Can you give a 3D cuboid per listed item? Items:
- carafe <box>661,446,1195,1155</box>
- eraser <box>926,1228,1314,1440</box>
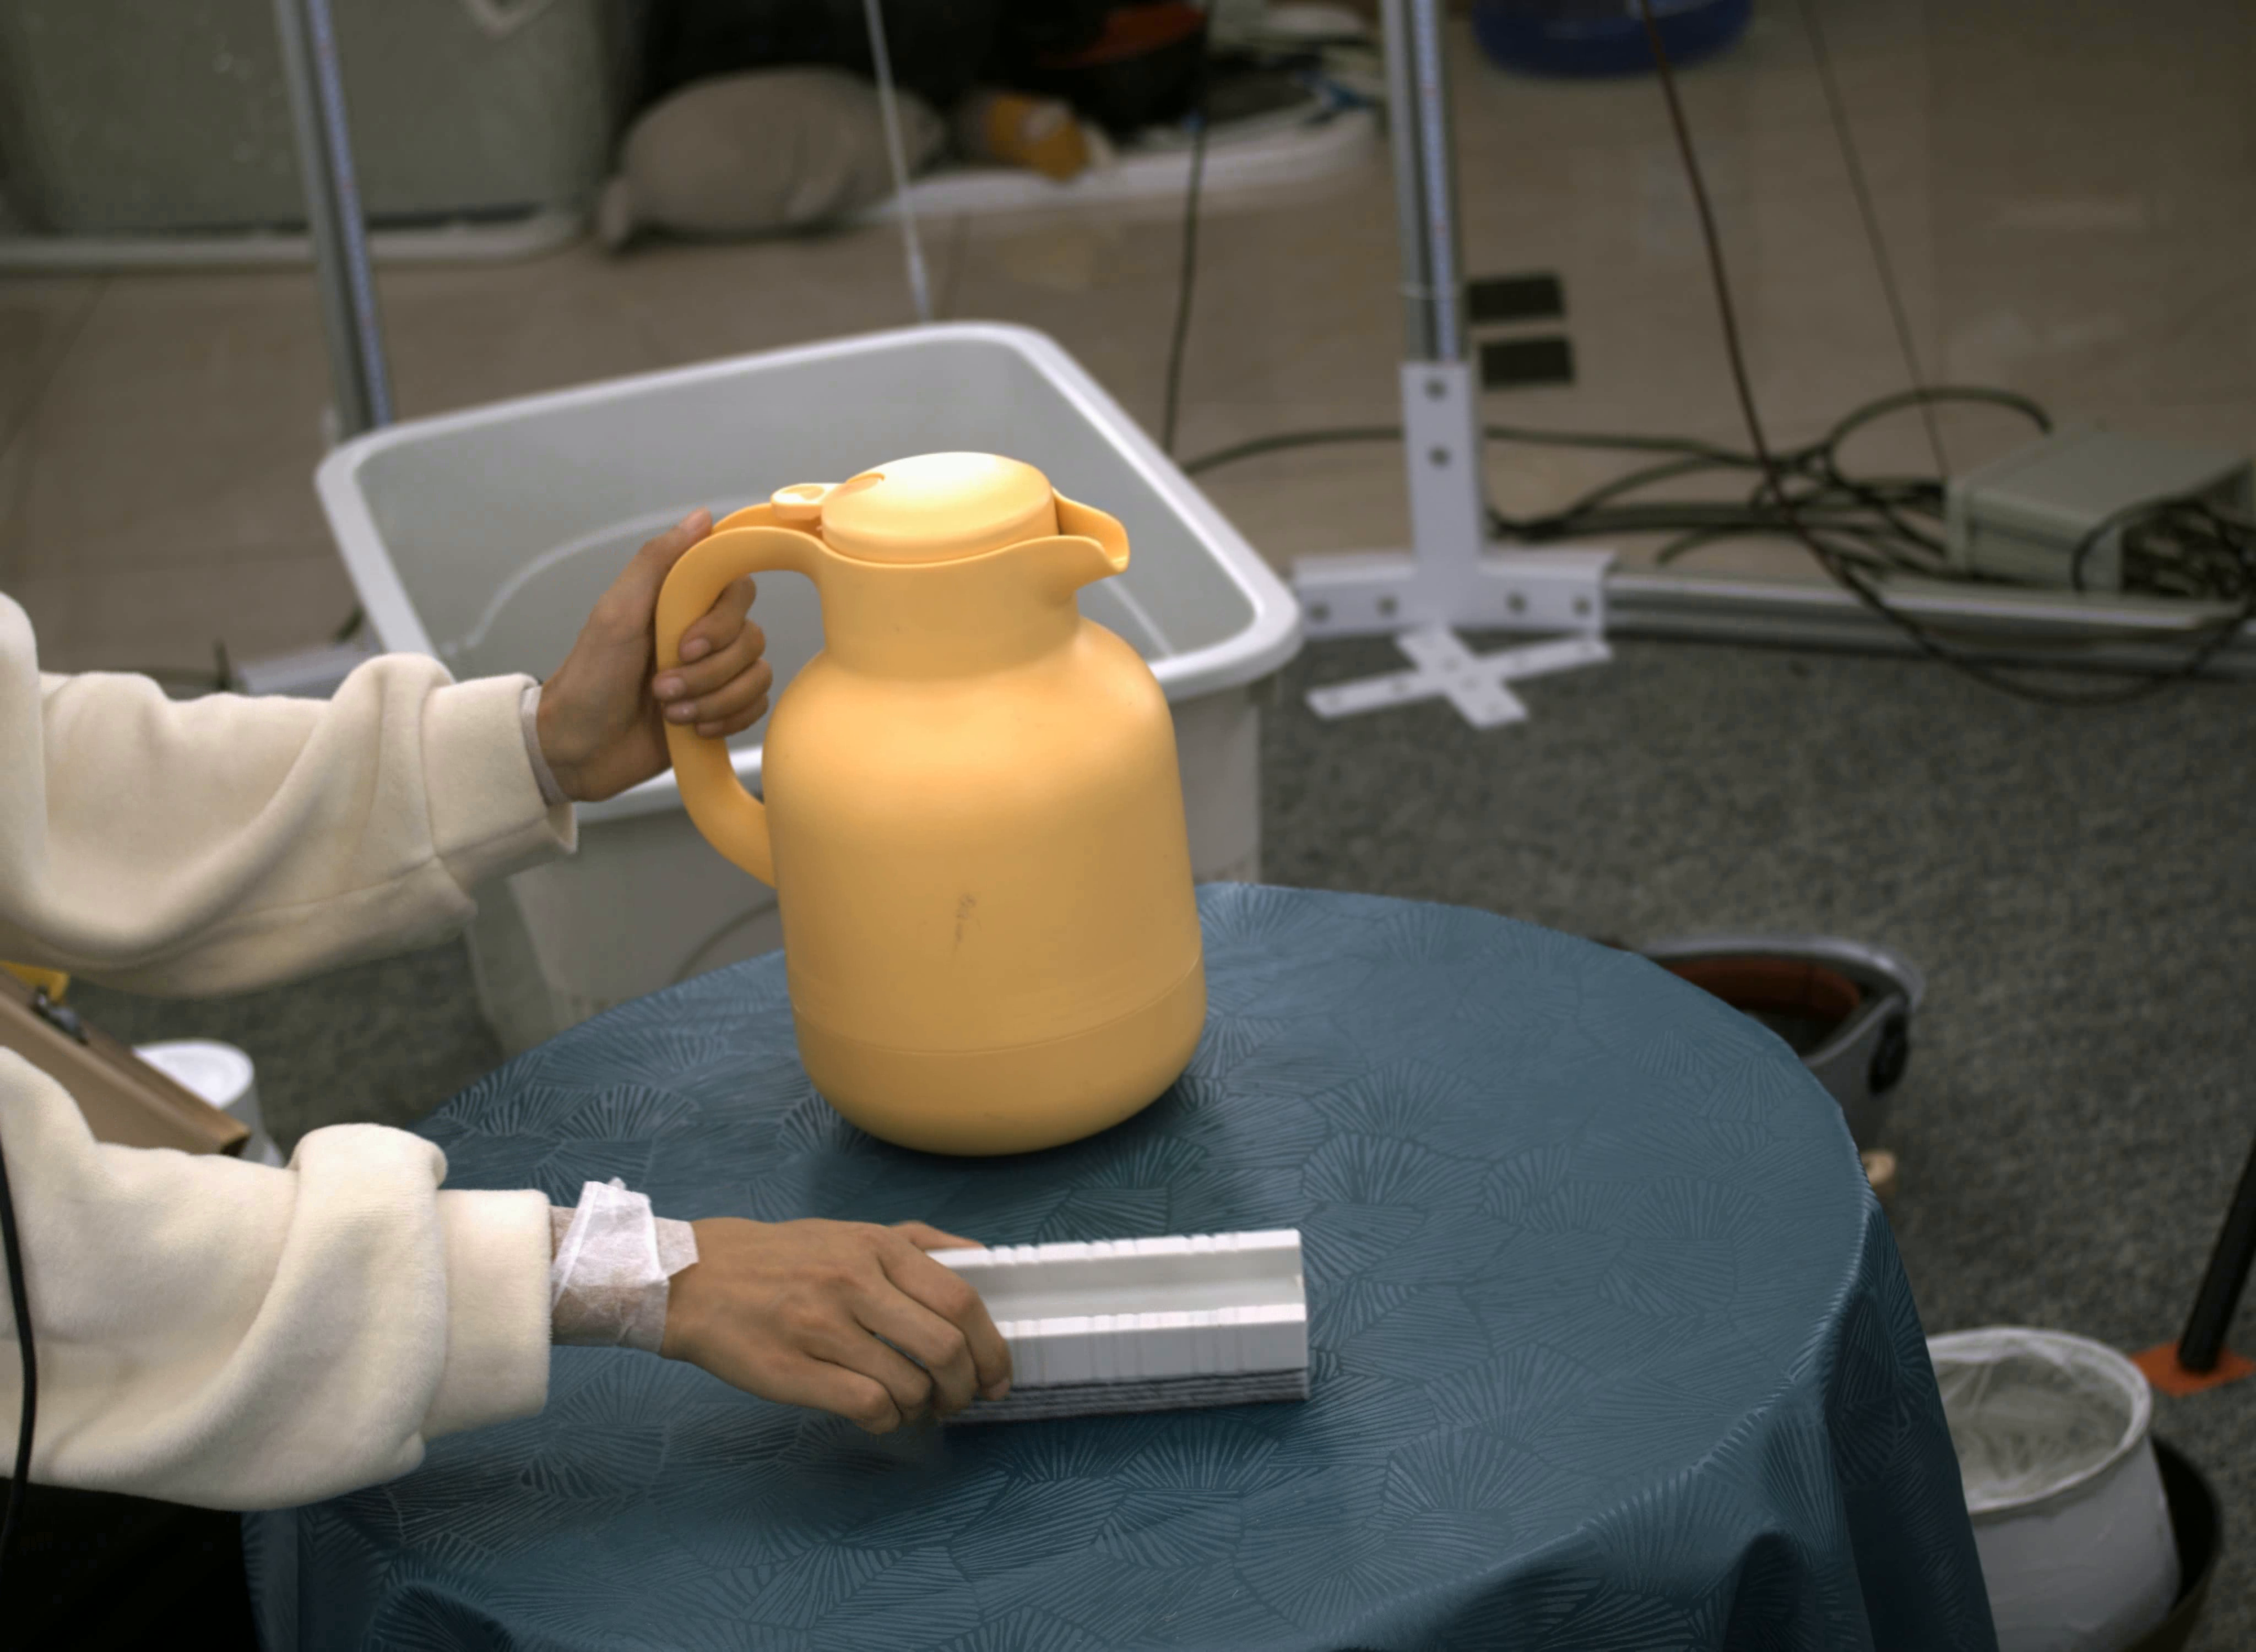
[{"bbox_3d":[-0.078,-0.016,2.181,0.202,0.264,0.161,6,25,21],"label":"carafe"},{"bbox_3d":[-0.003,0.180,2.000,0.134,0.047,0.049,-5,39,0],"label":"eraser"}]
